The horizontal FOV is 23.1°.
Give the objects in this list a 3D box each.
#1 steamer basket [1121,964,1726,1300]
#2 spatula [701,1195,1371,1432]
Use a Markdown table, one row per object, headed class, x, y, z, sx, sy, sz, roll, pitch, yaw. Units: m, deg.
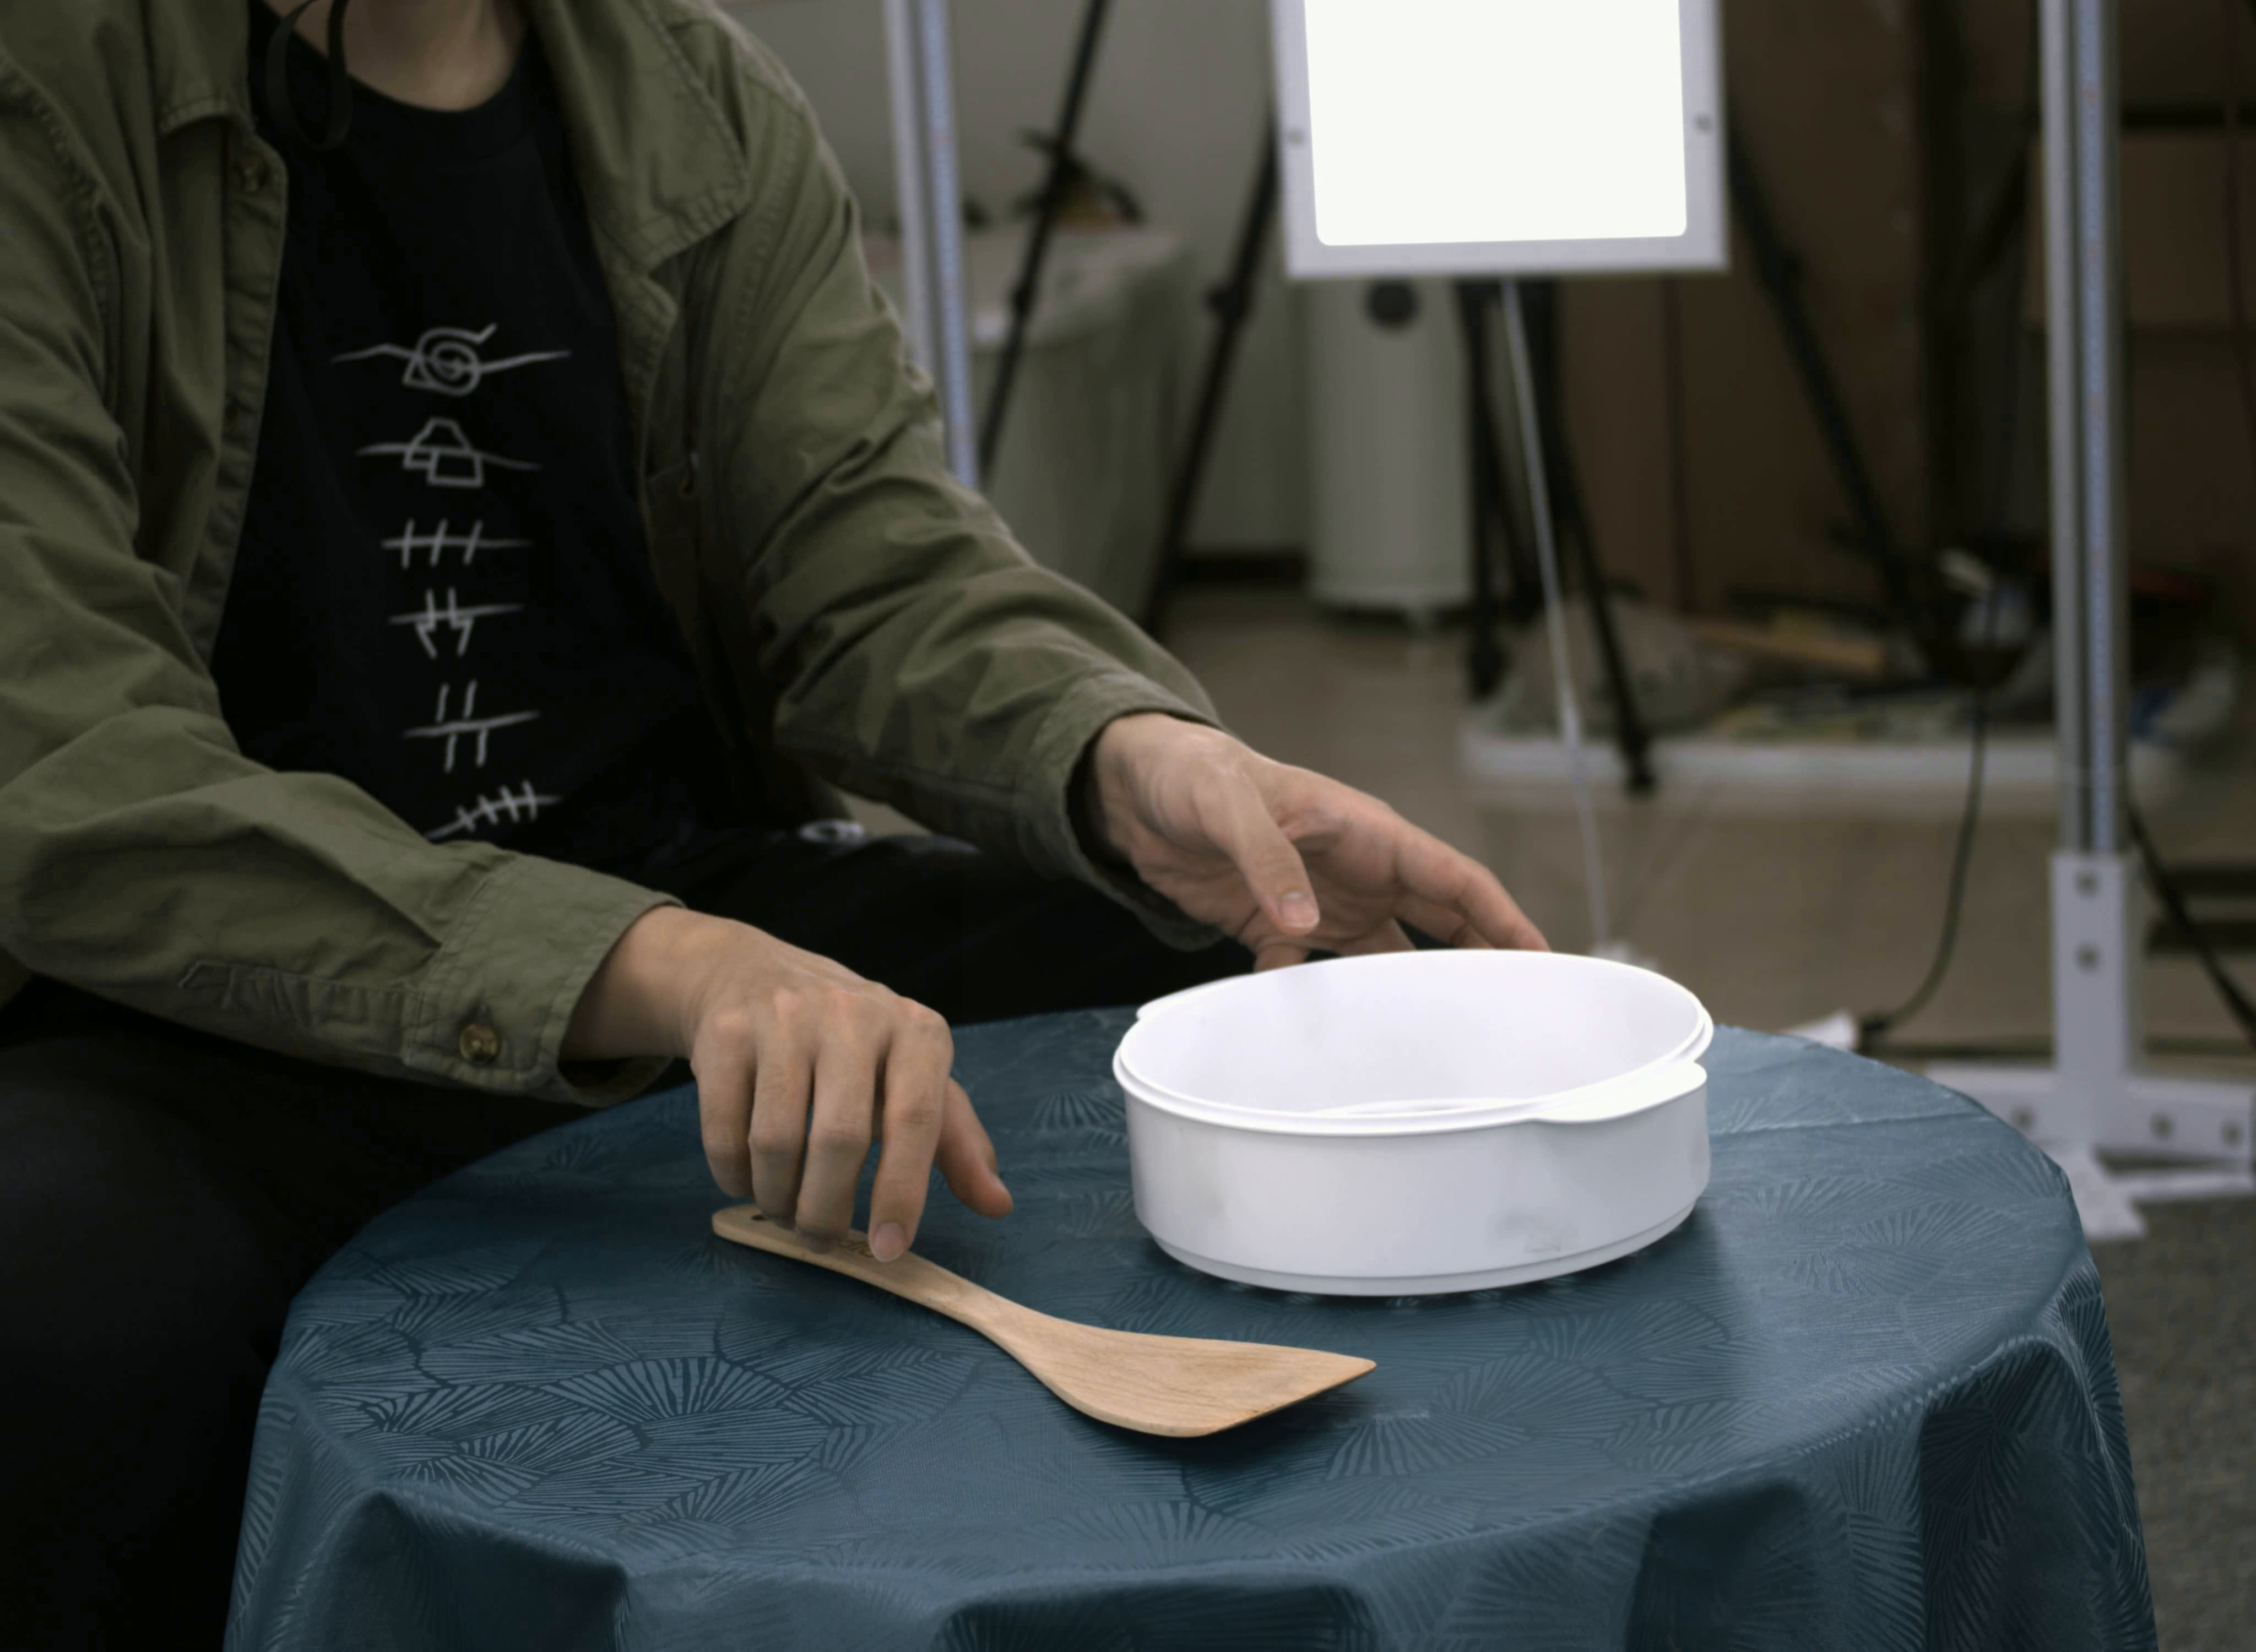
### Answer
| class | x | y | z | sx | sy | sz | roll | pitch | yaw |
| --- | --- | --- | --- | --- | --- | --- | --- | --- | --- |
| steamer basket | 0.100 | 0.101 | 1.825 | 0.197 | 0.069 | 0.235 | -15 | 15 | -37 |
| spatula | -0.043 | 0.151 | 1.773 | 0.078 | 0.016 | 0.334 | -14 | 17 | -34 |
